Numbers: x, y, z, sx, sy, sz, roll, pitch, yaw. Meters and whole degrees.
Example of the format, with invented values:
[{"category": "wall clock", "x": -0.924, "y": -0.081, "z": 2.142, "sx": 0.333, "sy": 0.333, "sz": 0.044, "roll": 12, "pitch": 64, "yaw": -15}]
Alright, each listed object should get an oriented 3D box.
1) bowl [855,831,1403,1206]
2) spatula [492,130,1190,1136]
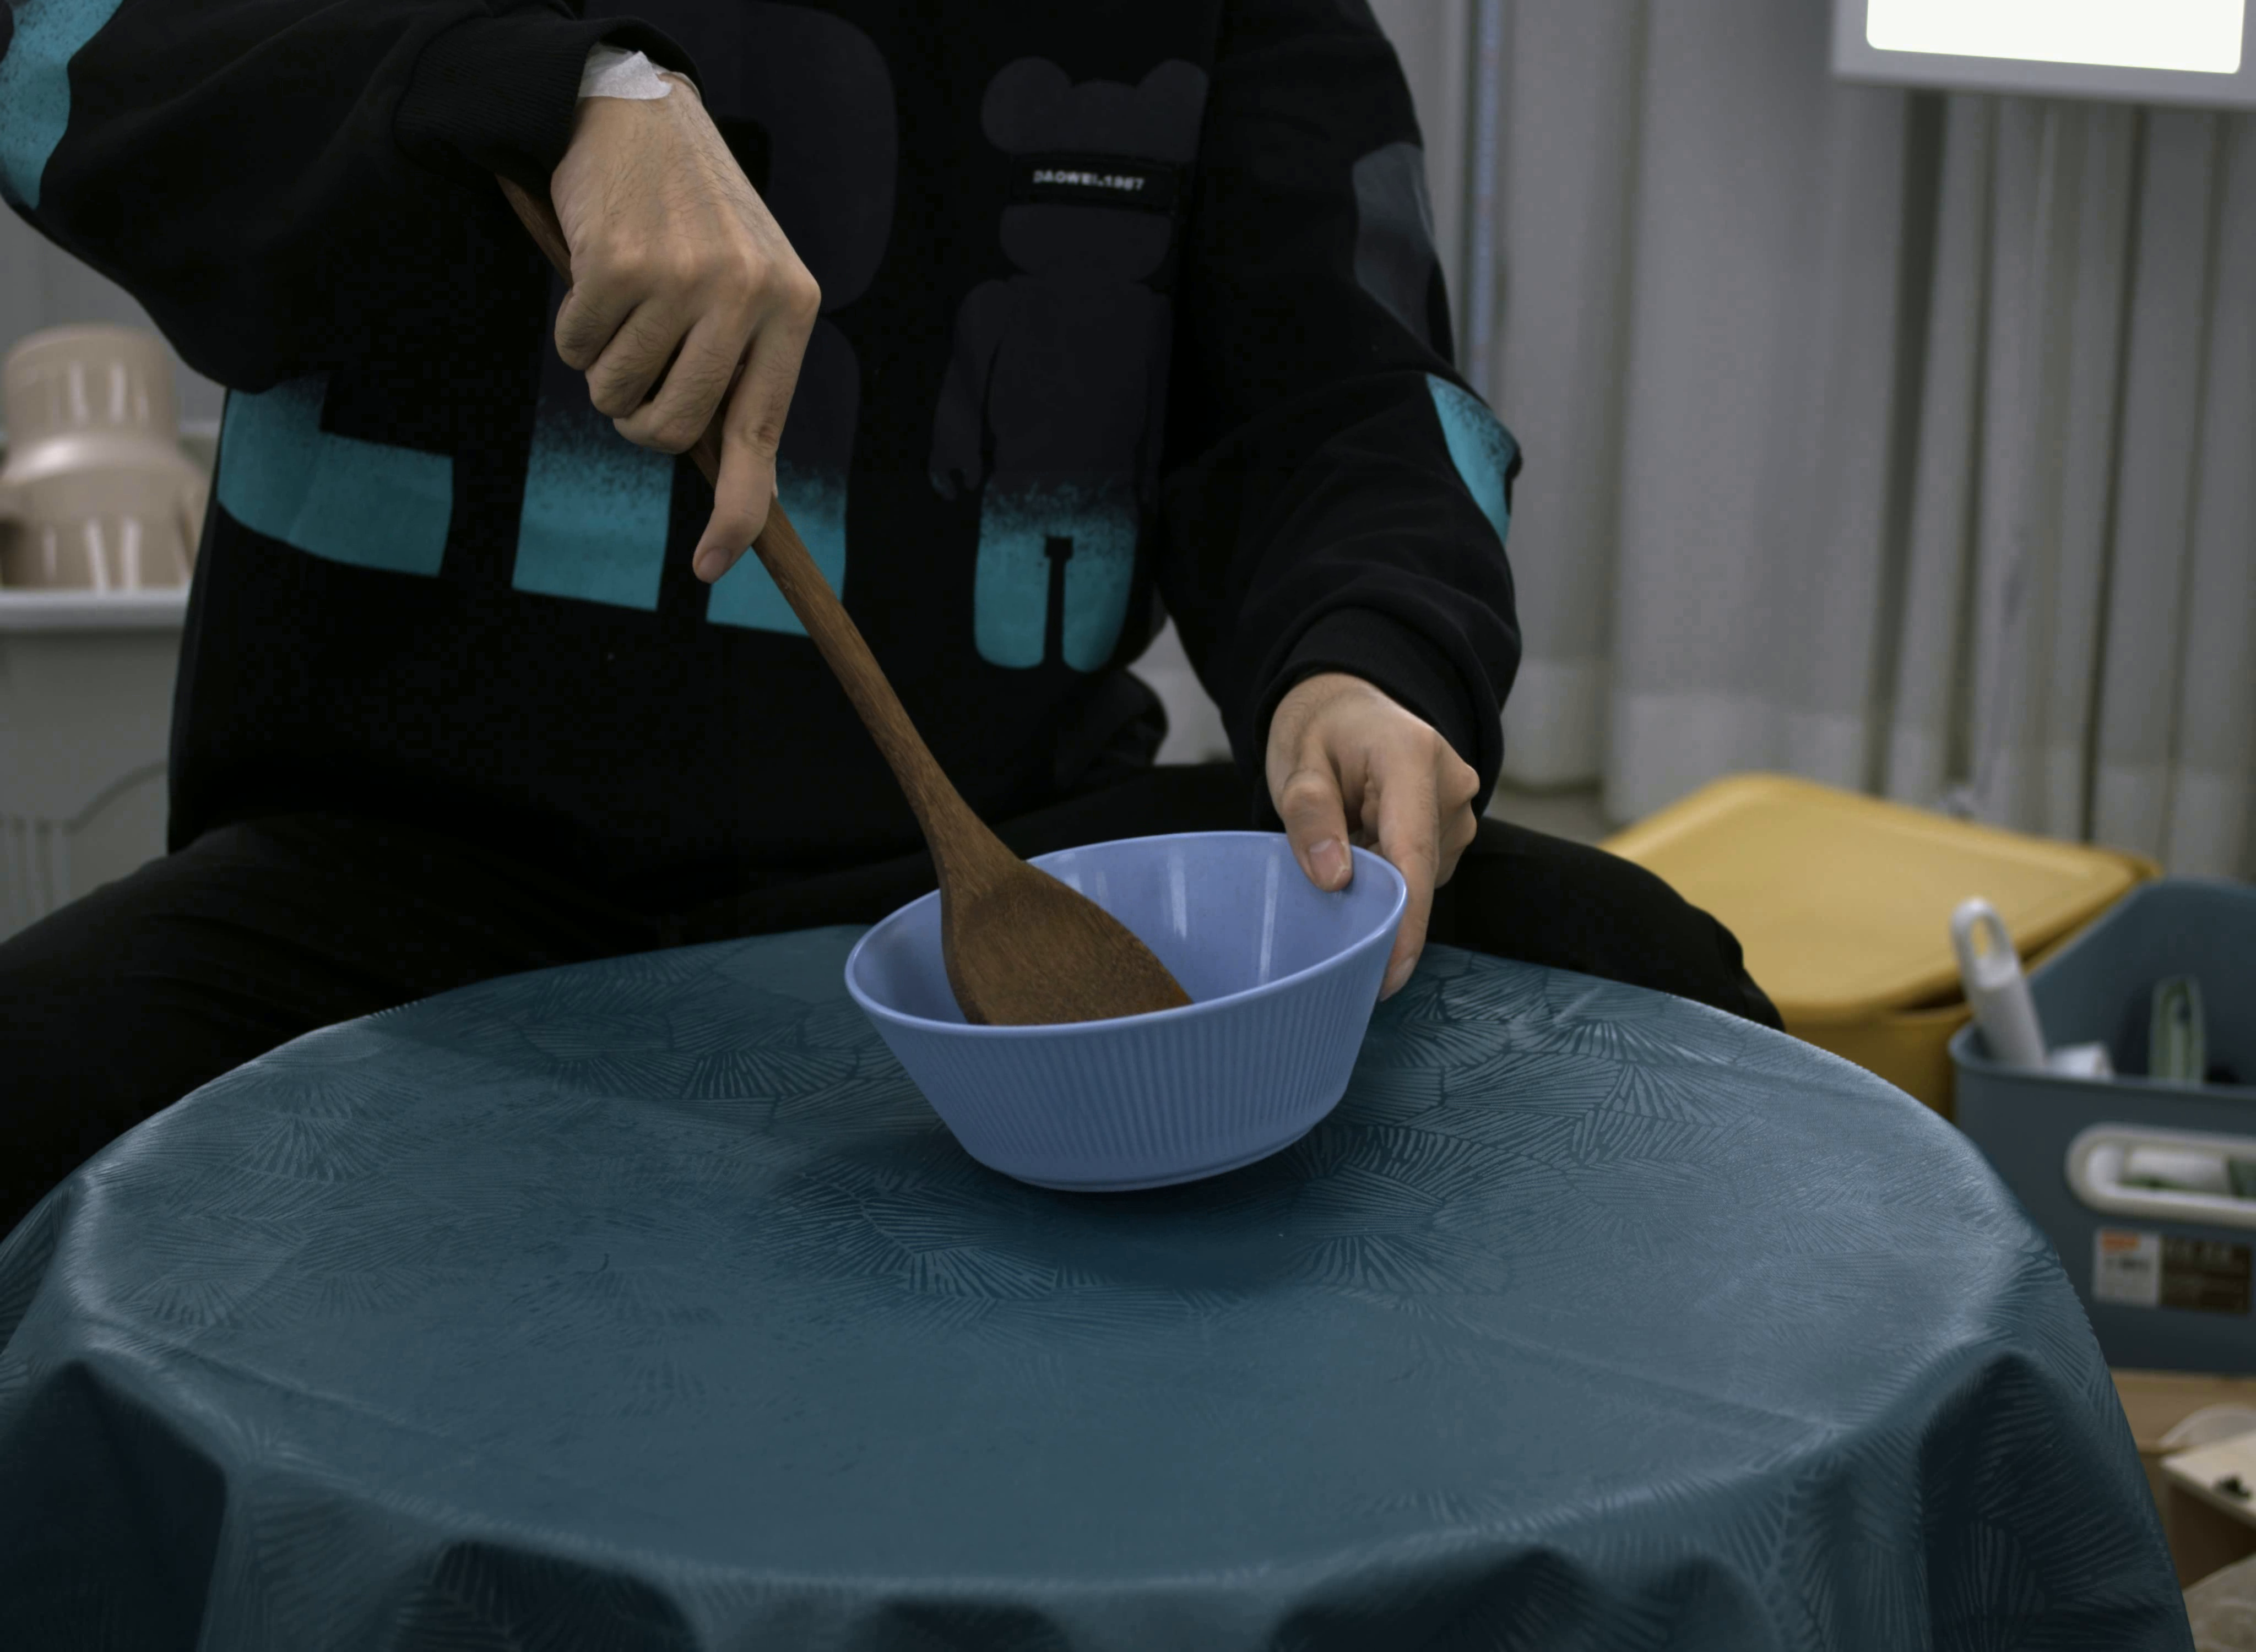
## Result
[{"category": "bowl", "x": 0.007, "y": 0.065, "z": 1.642, "sx": 0.175, "sy": 0.071, "sz": 0.175, "roll": -11, "pitch": 19, "yaw": 5}, {"category": "spatula", "x": -0.095, "y": -0.065, "z": 1.650, "sx": 0.016, "sy": 0.385, "sz": 0.096, "roll": -39, "pitch": -11, "yaw": 35}]
